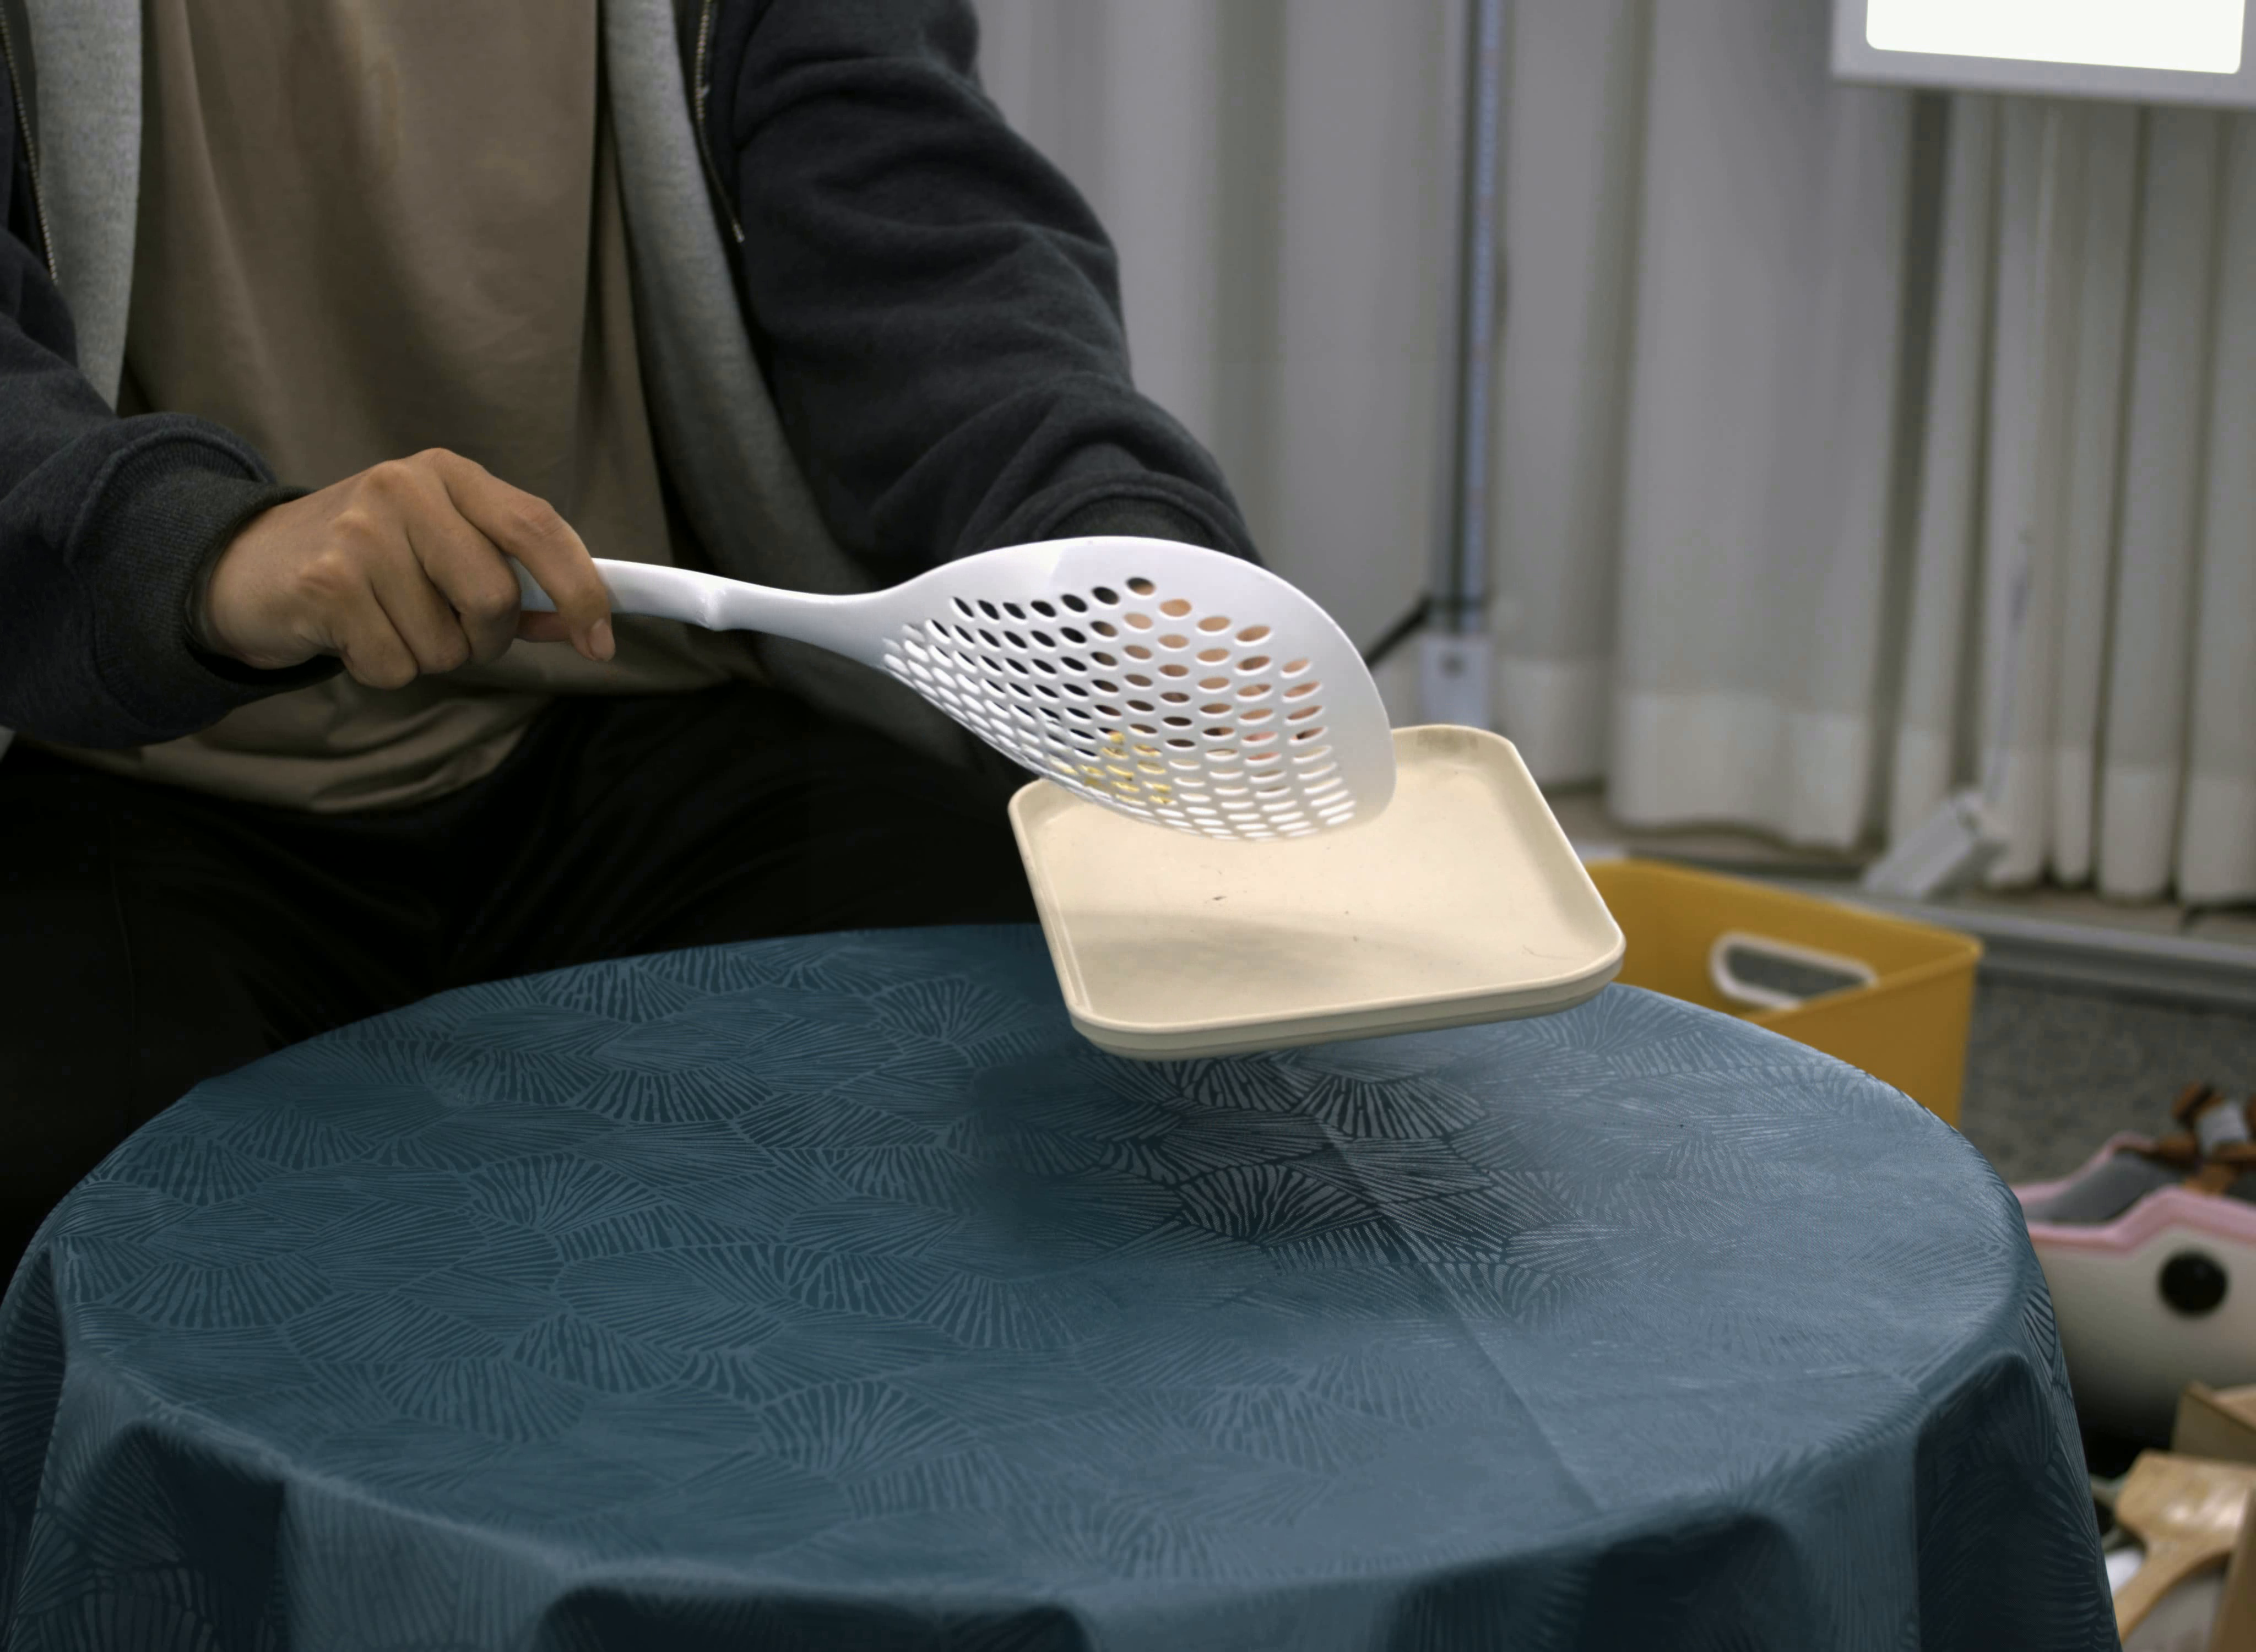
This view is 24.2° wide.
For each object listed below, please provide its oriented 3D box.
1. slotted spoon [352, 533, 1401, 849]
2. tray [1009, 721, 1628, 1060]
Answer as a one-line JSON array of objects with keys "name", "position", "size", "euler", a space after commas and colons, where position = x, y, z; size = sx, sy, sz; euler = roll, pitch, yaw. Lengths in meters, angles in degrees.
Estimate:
[{"name": "slotted spoon", "position": [-0.082, -0.054, 1.625], "size": [0.344, 0.138, 0.050], "euler": [16, 58, 23]}, {"name": "tray", "position": [0.056, 0.019, 1.656], "size": [0.171, 0.017, 0.237], "euler": [-7, 20, -5]}]
